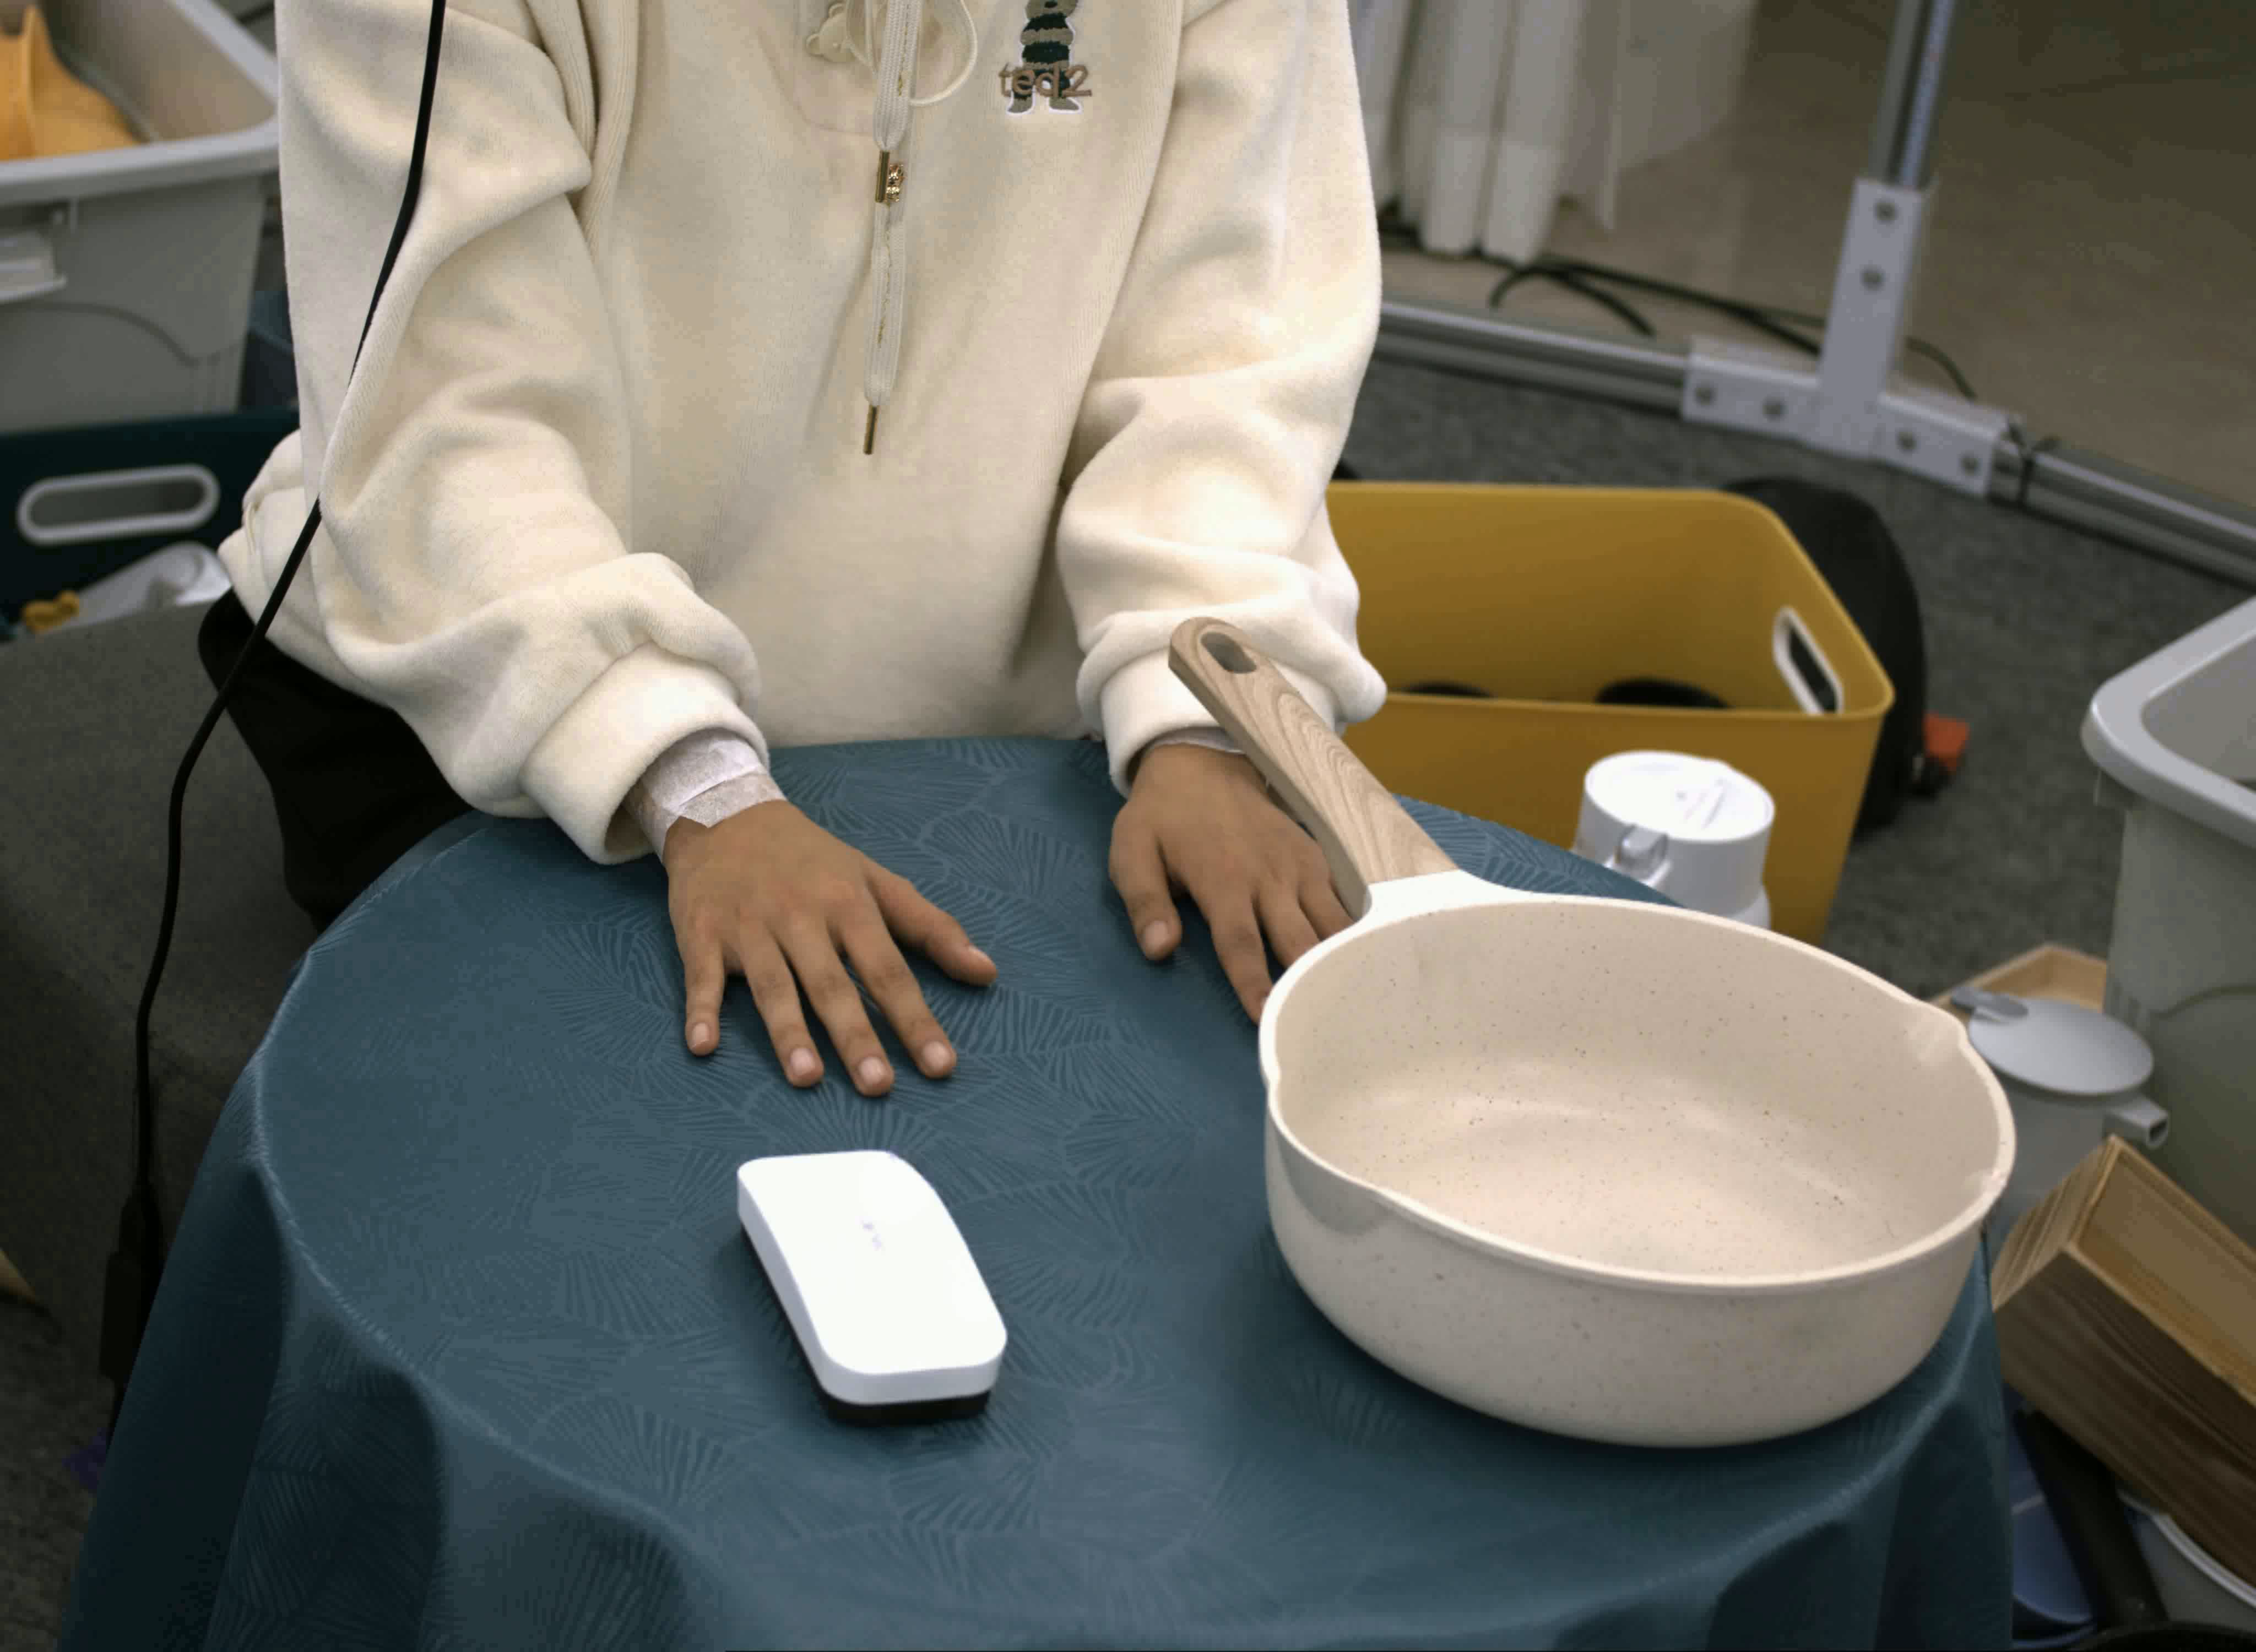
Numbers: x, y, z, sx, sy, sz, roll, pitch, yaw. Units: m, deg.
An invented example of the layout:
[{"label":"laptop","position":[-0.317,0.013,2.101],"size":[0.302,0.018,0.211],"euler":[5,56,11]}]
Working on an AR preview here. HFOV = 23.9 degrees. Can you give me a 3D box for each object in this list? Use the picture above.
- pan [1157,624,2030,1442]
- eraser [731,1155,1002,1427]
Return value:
[{"label":"pan","position":[0.123,0.067,1.828],"size":[0.262,0.101,0.439],"euler":[-10,32,-27]},{"label":"eraser","position":[-0.084,0.145,1.708],"size":[0.063,0.034,0.132],"euler":[-1,28,-20]}]
